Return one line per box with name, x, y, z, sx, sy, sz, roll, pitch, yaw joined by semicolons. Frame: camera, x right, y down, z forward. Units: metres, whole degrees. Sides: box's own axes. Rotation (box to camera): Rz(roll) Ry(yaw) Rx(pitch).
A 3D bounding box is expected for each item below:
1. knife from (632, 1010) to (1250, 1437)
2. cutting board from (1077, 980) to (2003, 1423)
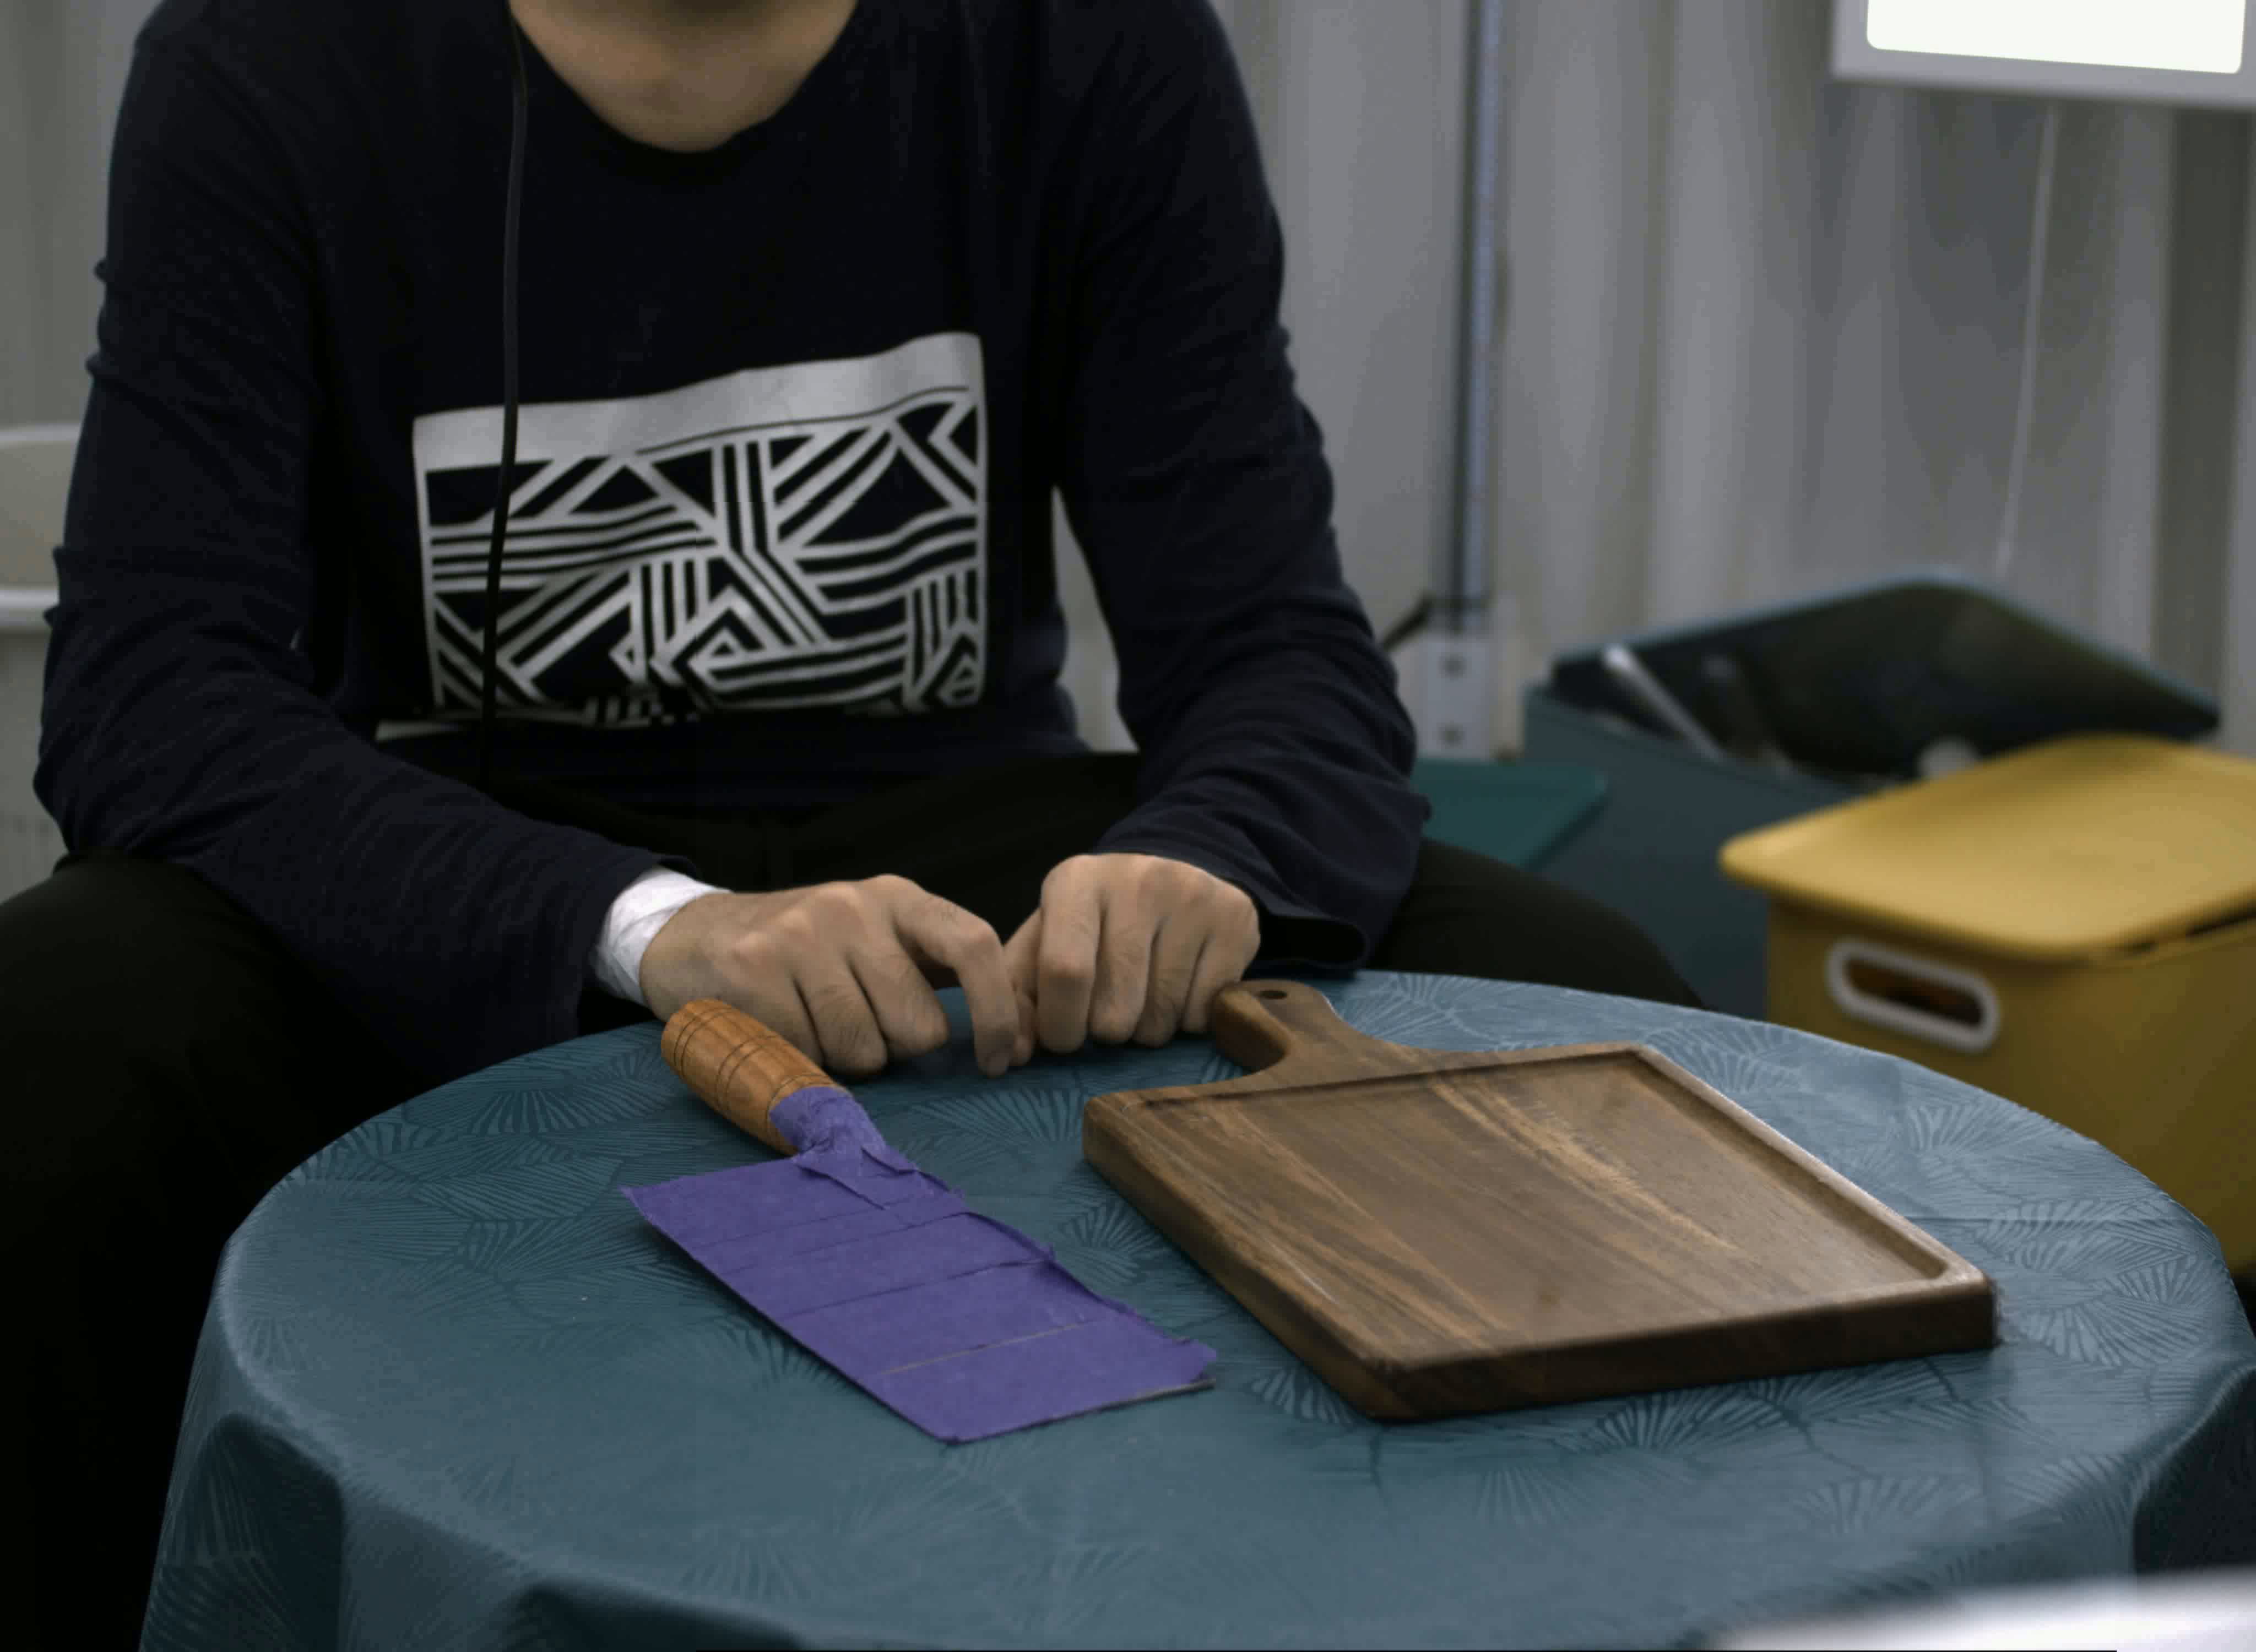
knife;-0.088;0.114;1.565;0.104;0.032;0.311;-9;18;-30
cutting board;0.100;0.104;1.621;0.201;0.023;0.348;-5;16;-19
